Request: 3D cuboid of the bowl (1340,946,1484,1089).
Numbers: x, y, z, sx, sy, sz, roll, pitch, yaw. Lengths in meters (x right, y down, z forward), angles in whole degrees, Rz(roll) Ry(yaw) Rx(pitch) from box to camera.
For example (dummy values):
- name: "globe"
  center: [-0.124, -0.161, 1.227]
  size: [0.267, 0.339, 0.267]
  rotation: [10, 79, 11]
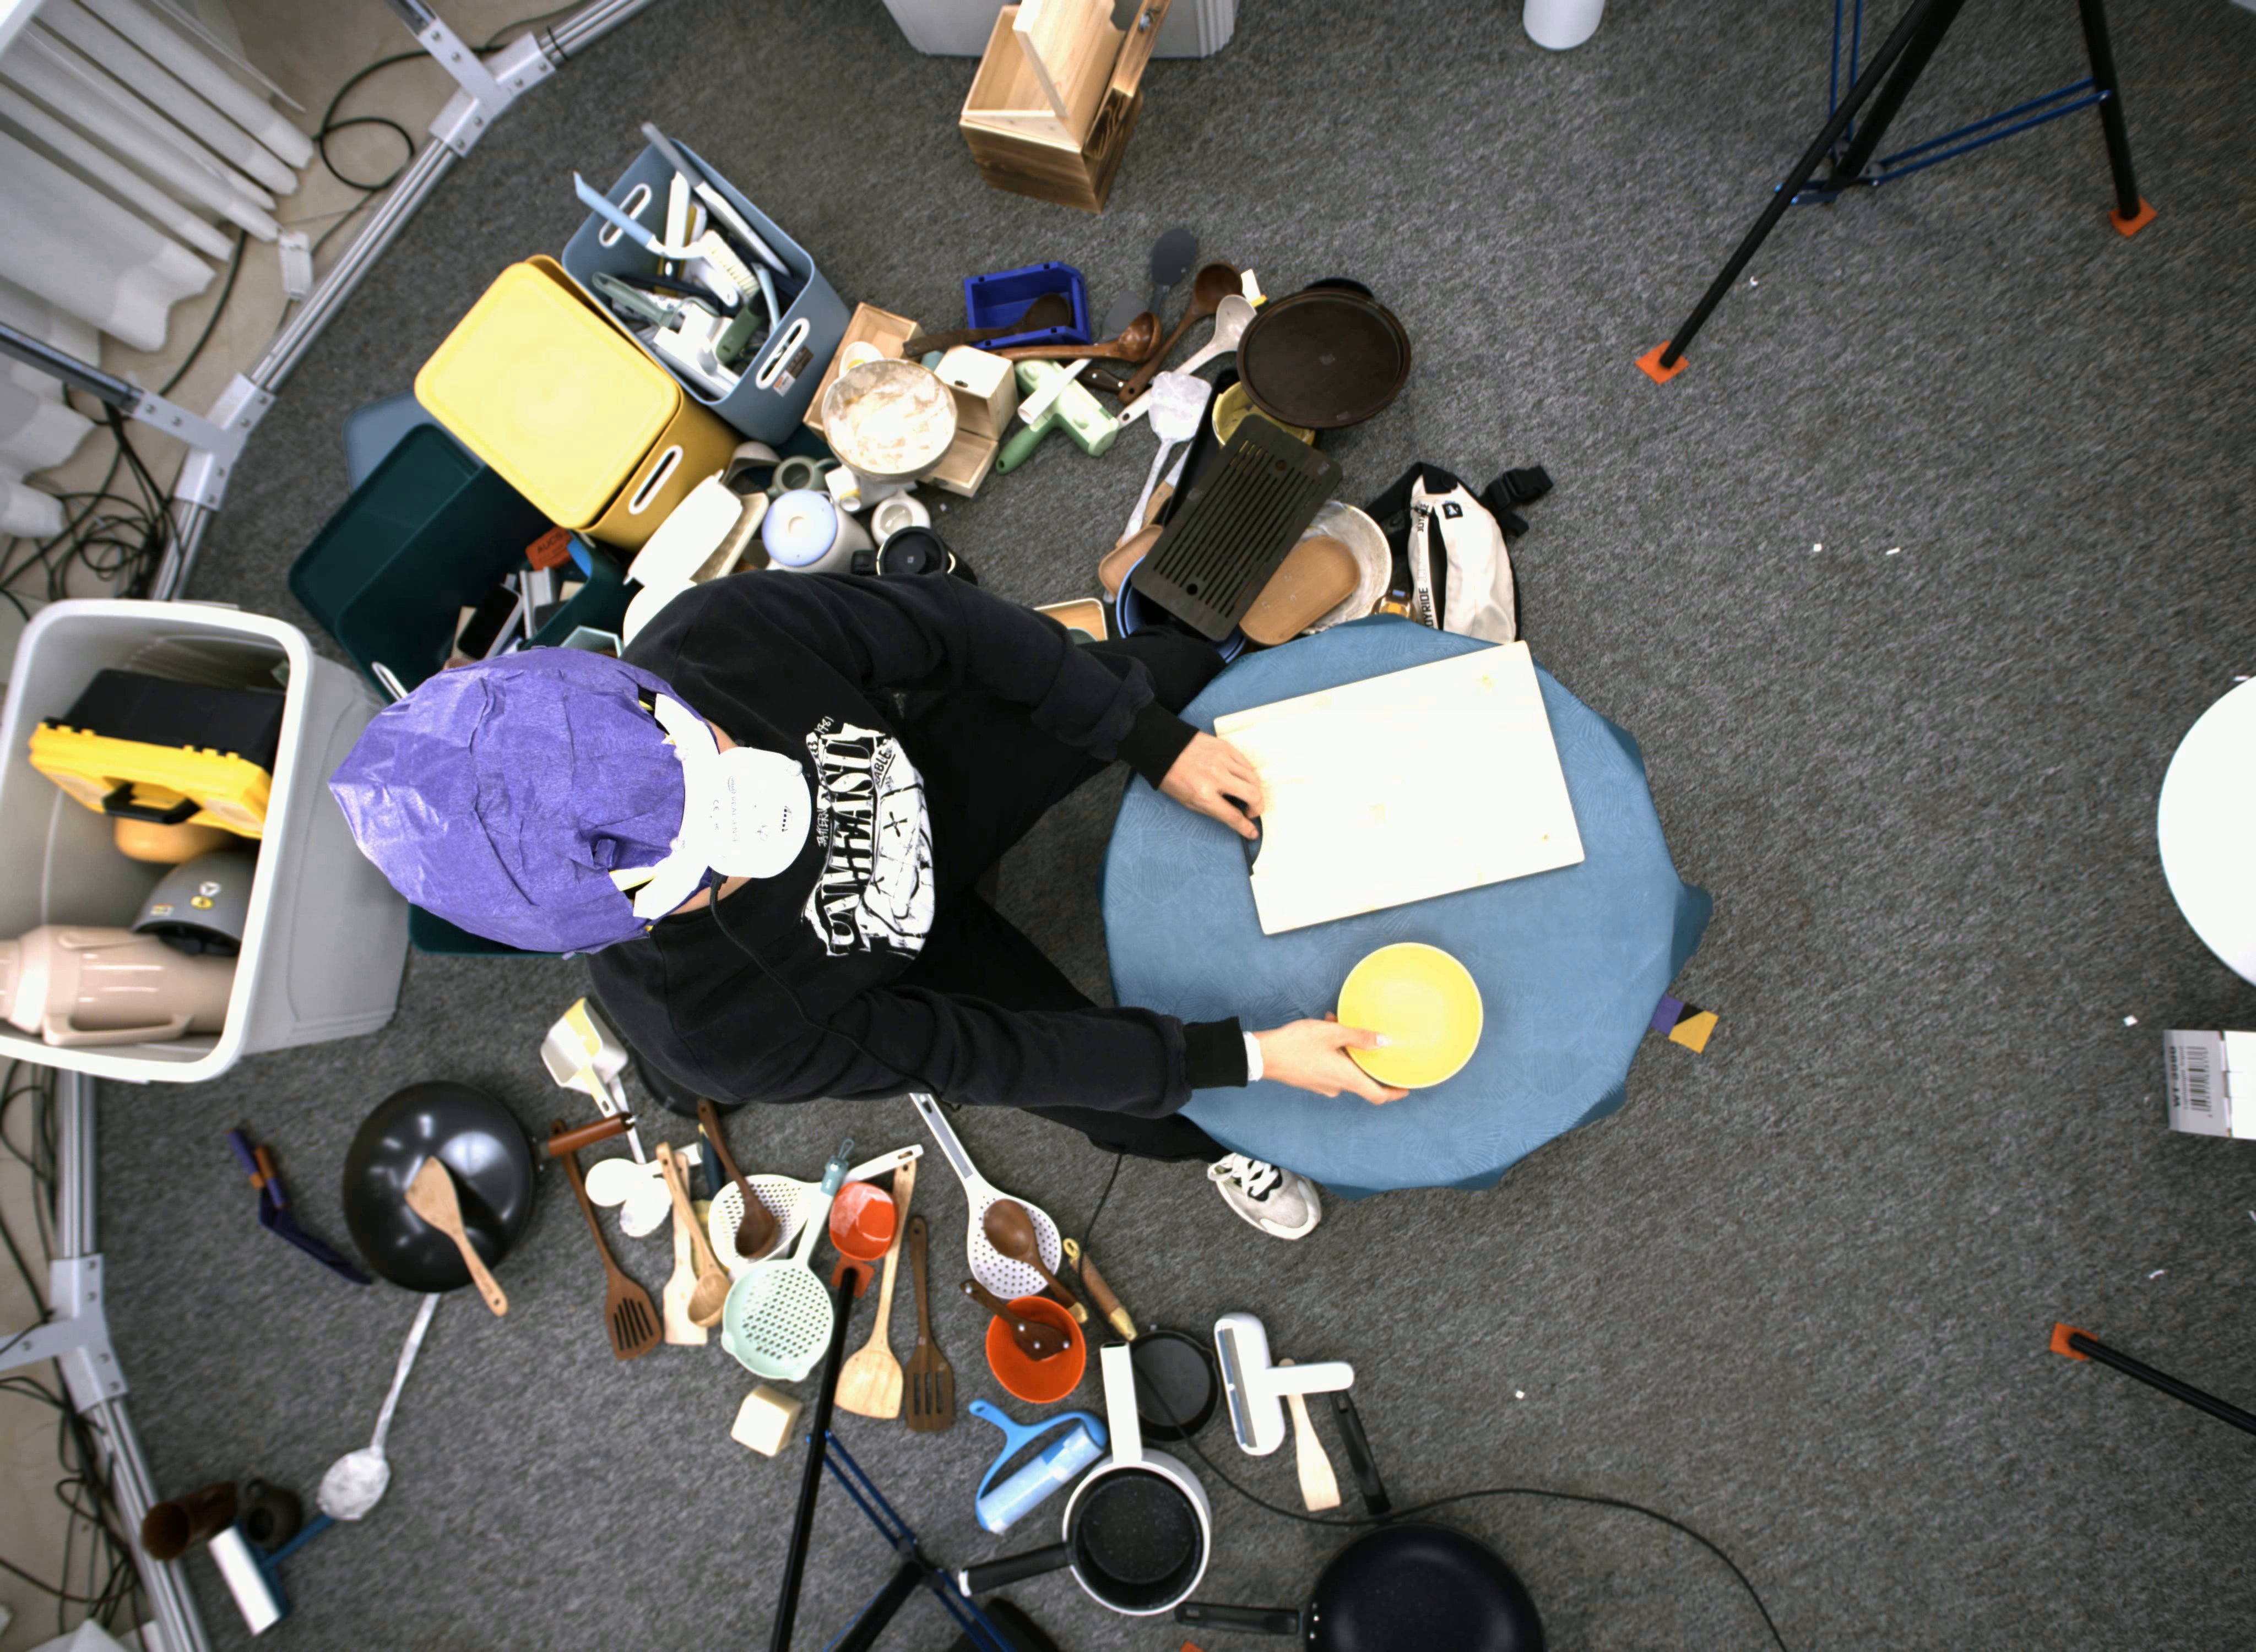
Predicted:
- name: "bowl"
  center: [0.292, 0.196, 1.424]
  size: [0.146, 0.060, 0.144]
  rotation: [-2, 83, 12]

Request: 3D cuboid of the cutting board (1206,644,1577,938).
- name: "cutting board"
  center: [0.279, -0.037, 1.462]
  size: [0.350, 0.023, 0.249]
  rotation: [-15, 83, 9]
